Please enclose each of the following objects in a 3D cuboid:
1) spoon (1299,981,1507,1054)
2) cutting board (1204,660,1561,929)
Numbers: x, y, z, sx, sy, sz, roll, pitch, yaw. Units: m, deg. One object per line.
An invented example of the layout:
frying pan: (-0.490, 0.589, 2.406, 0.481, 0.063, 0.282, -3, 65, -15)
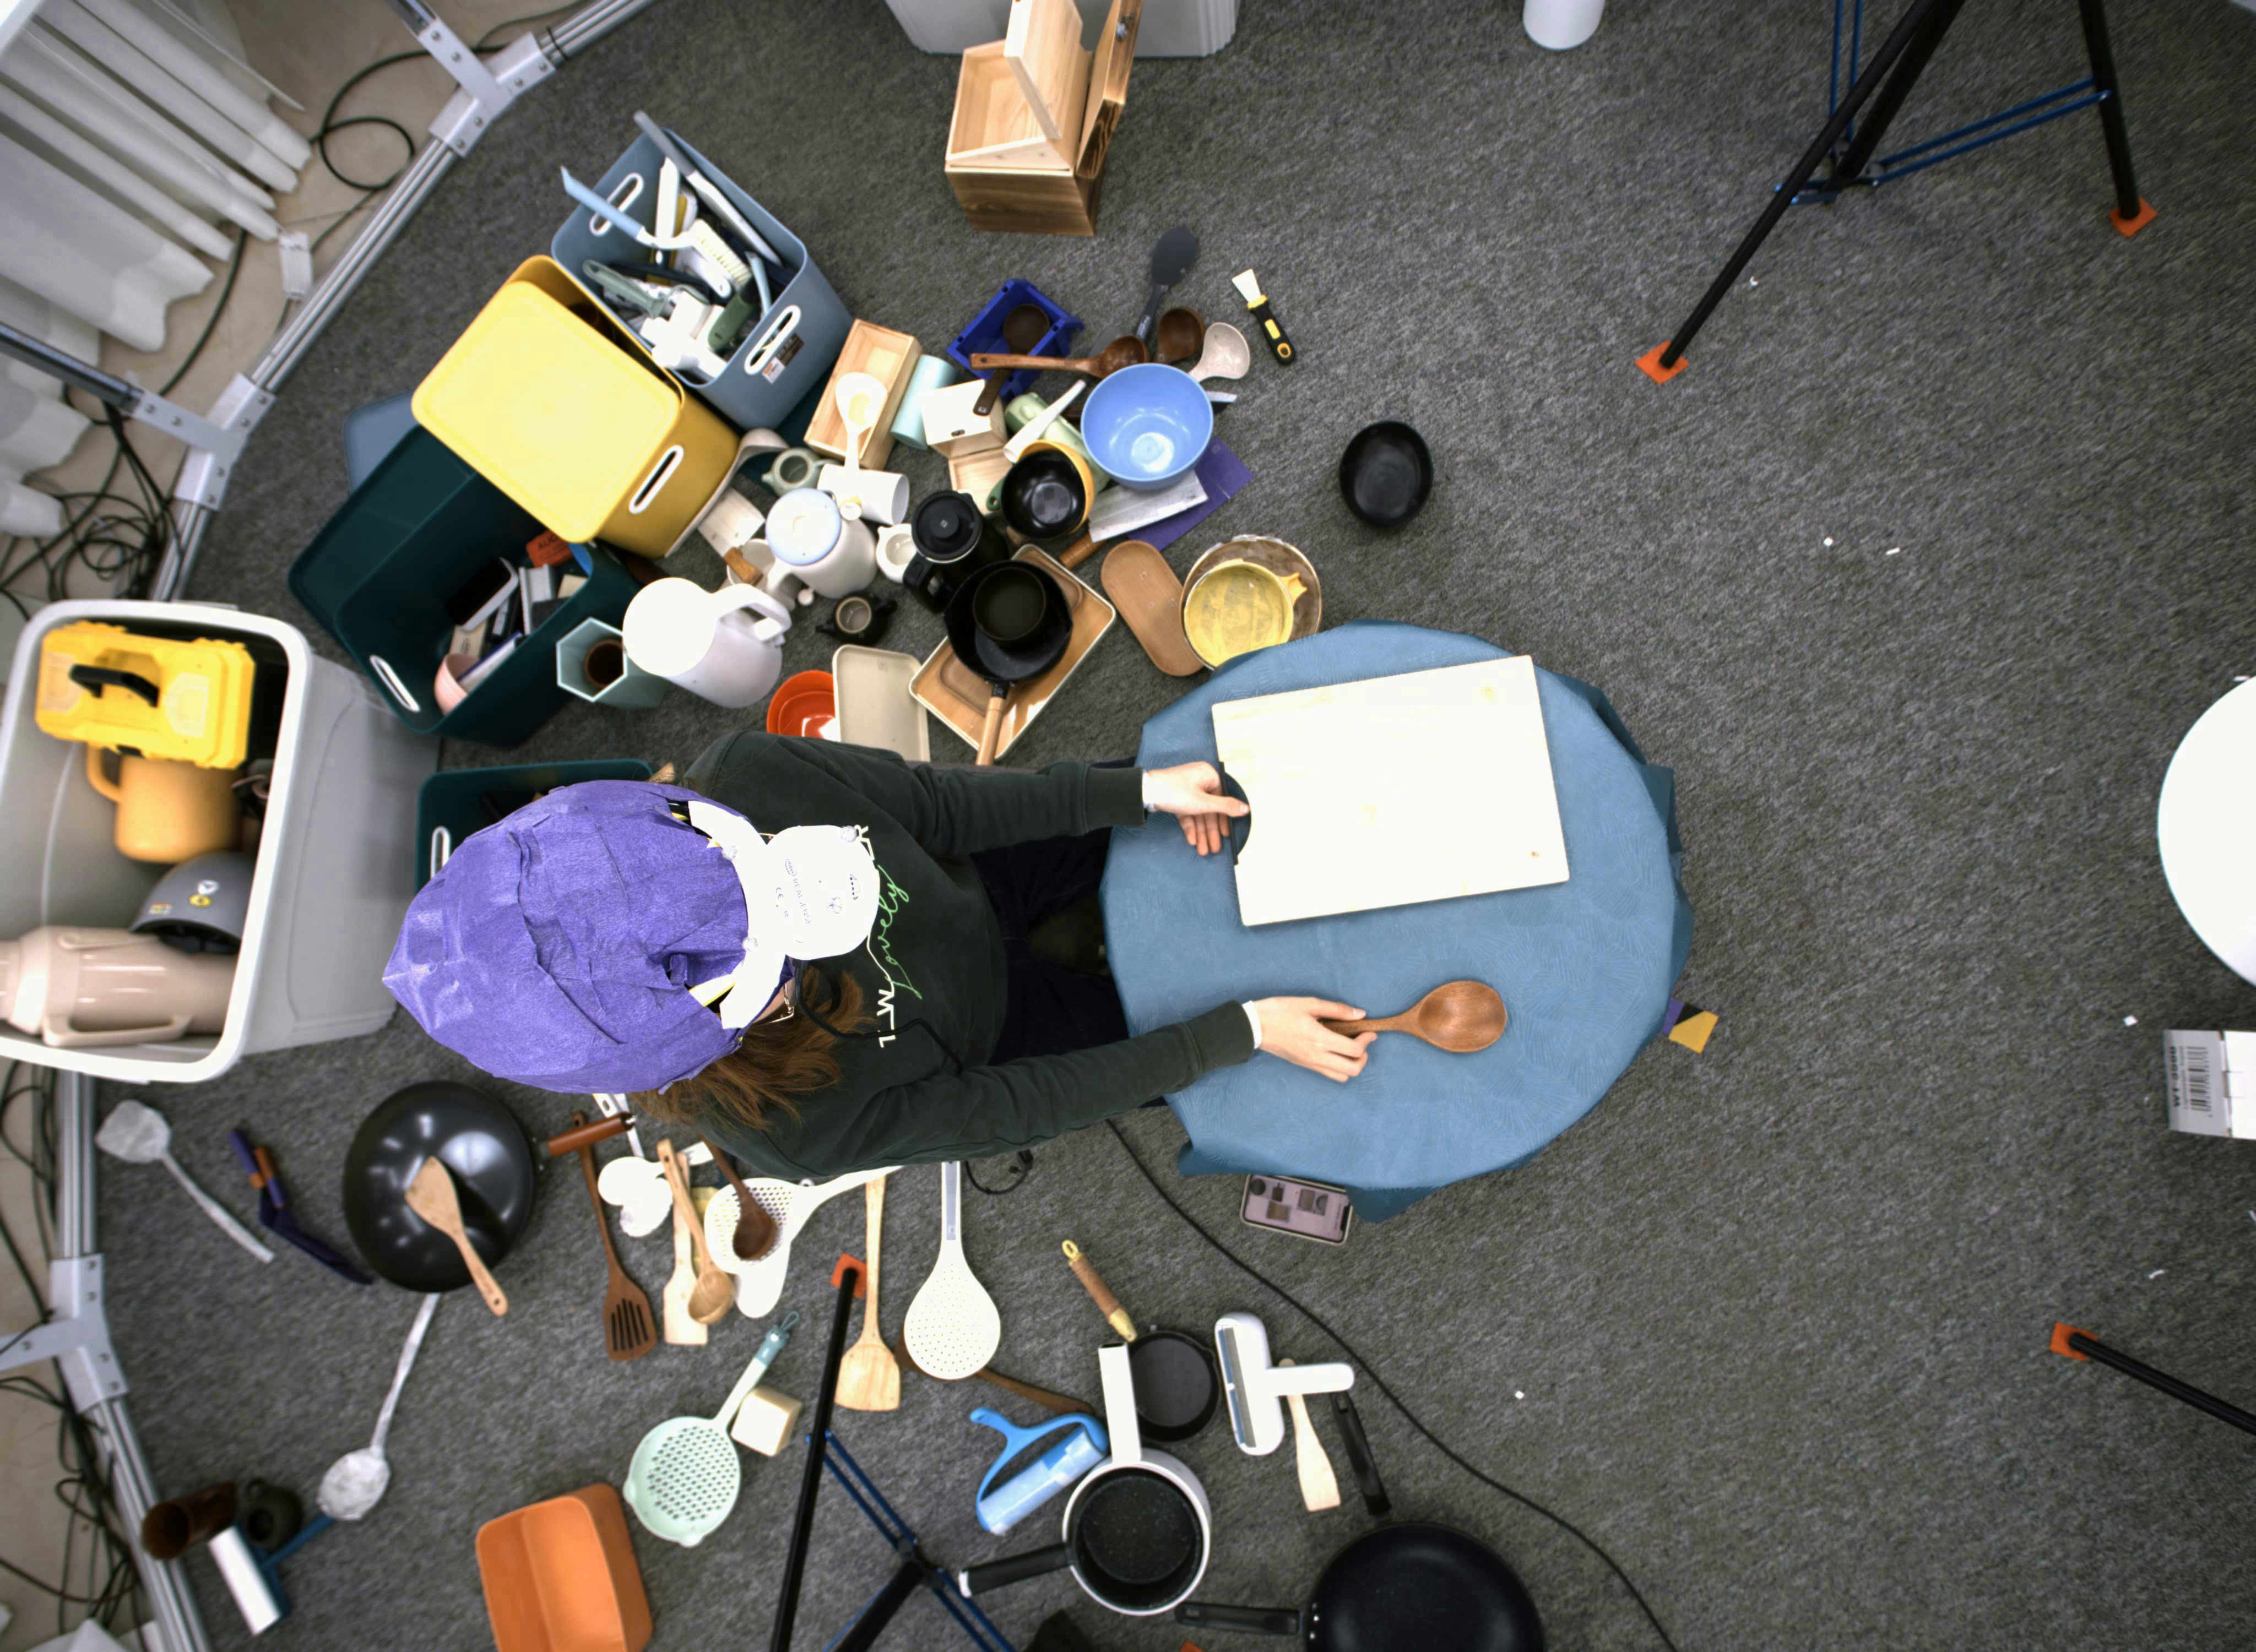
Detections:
spoon: (0.286, 0.205, 1.443, 0.217, 0.017, 0.075, -8, 87, 9)
cutting board: (0.268, -0.034, 1.457, 0.350, 0.023, 0.249, -9, 84, 7)
